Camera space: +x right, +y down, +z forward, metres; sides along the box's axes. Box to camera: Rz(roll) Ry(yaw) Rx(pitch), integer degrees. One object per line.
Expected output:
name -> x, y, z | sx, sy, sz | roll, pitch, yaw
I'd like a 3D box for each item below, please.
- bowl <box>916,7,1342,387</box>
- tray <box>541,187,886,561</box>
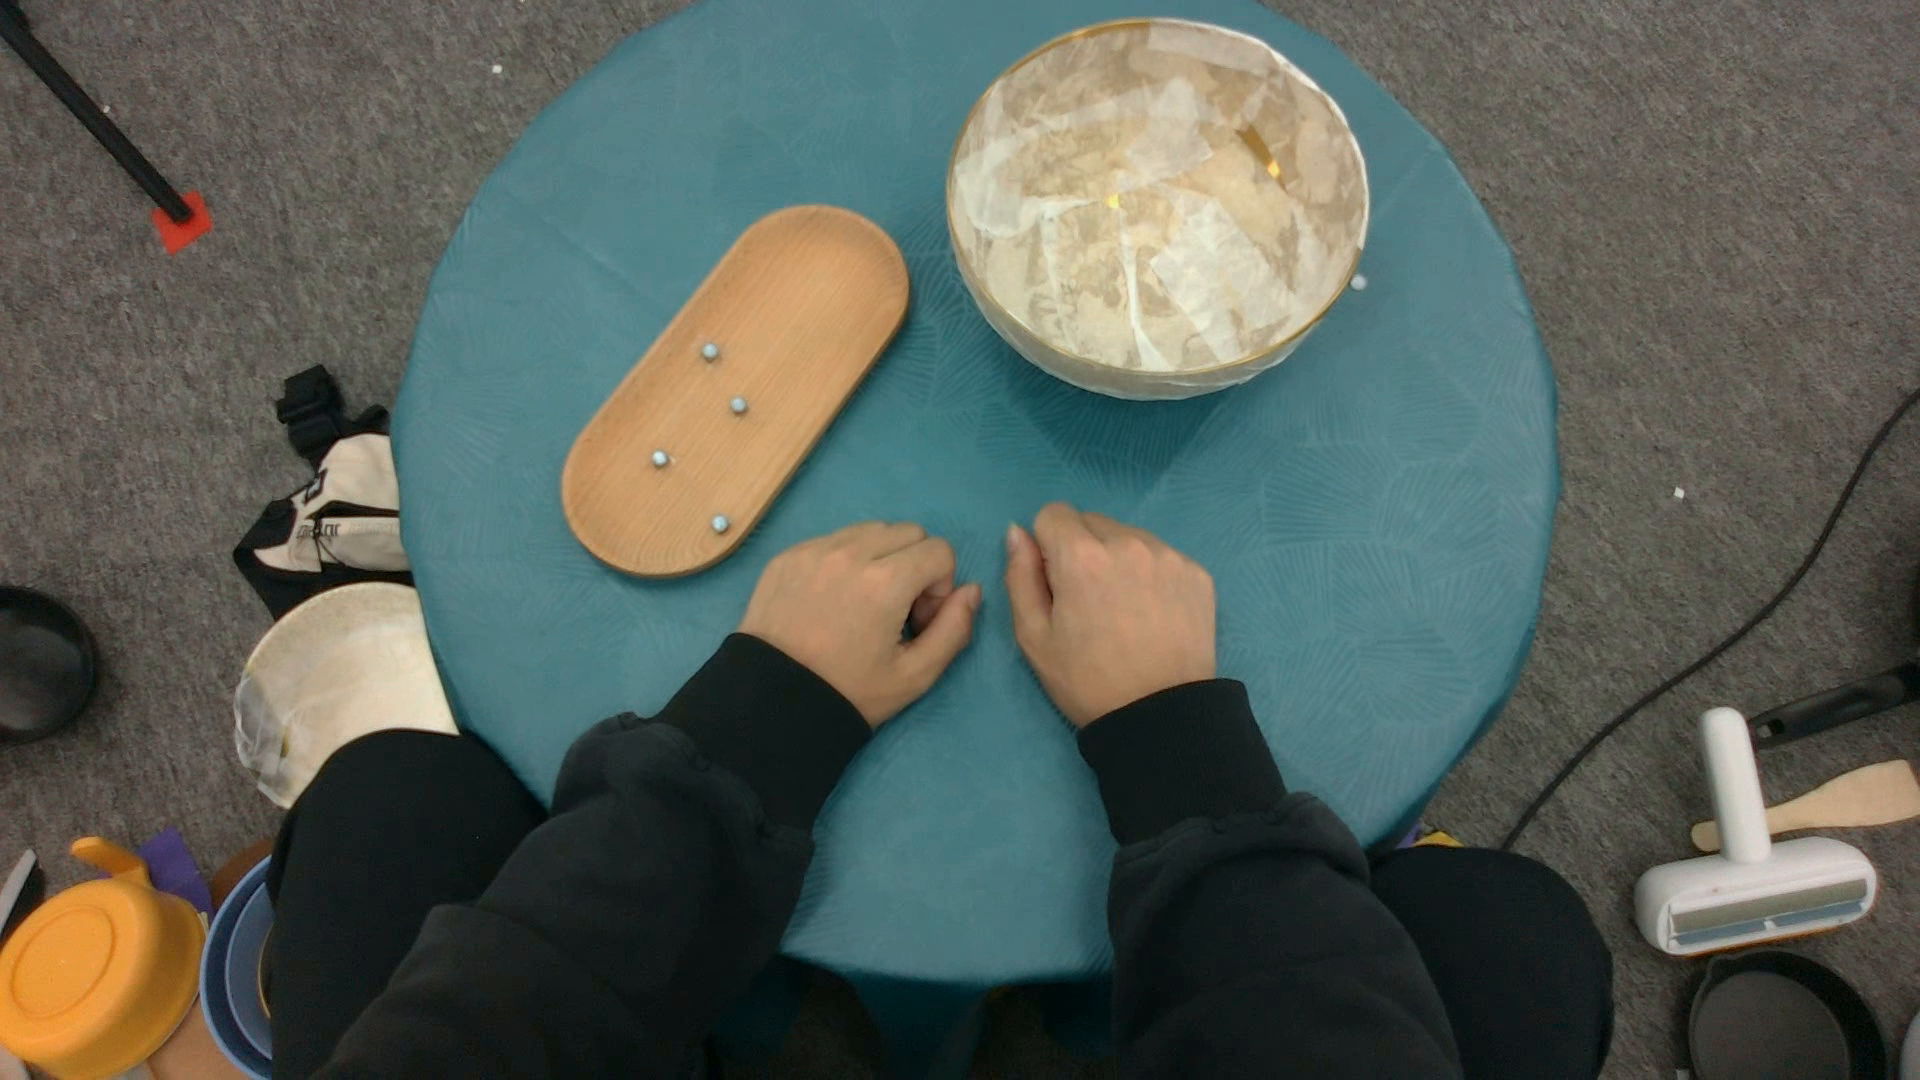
bowl -> 0.078, -0.159, 0.700 | 0.215, 0.094, 0.215 | 1, 70, -2
tray -> -0.124, -0.089, 0.710 | 0.101, 0.020, 0.232 | 30, 70, 7
